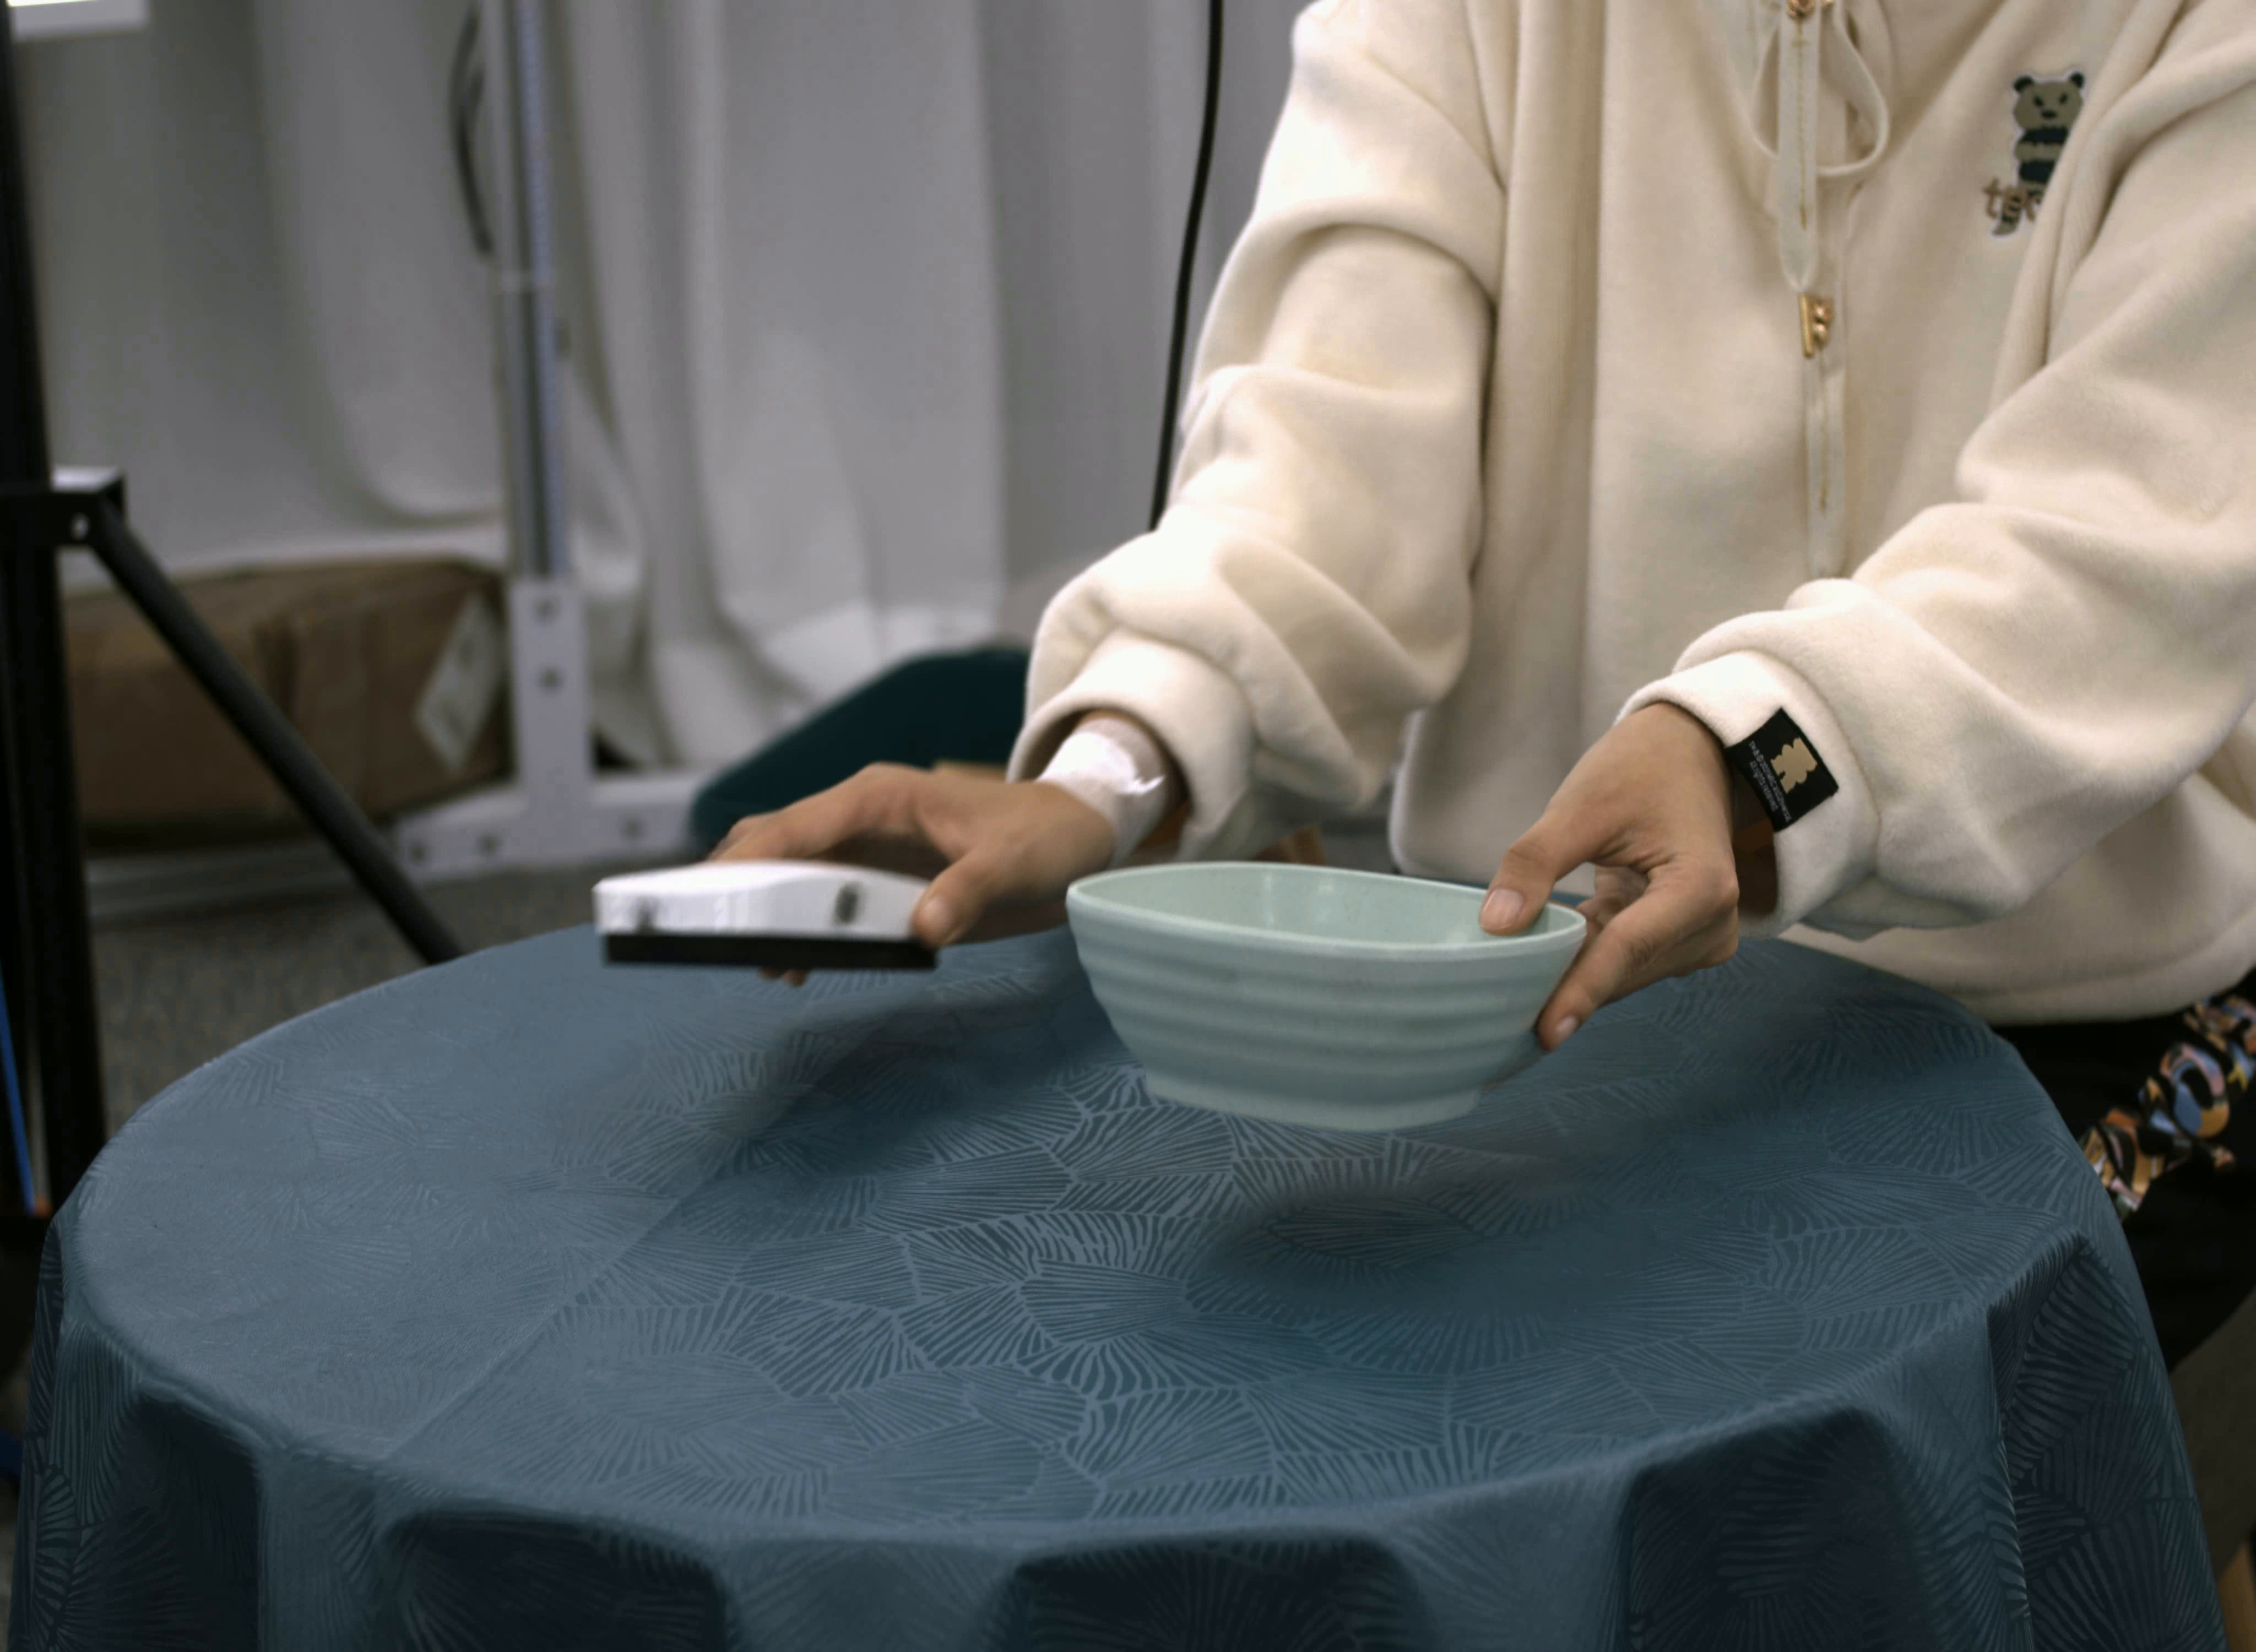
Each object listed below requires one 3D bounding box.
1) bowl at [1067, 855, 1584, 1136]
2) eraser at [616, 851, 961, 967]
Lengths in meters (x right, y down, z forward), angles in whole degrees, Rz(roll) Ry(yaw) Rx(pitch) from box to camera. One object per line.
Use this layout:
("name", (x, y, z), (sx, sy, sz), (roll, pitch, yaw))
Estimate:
("bowl", (0.054, 0.050, 1.513), (0.150, 0.059, 0.152), (6, 7, -2))
("eraser", (-0.102, 0.025, 1.632), (0.064, 0.035, 0.128), (1, -2, 28))
